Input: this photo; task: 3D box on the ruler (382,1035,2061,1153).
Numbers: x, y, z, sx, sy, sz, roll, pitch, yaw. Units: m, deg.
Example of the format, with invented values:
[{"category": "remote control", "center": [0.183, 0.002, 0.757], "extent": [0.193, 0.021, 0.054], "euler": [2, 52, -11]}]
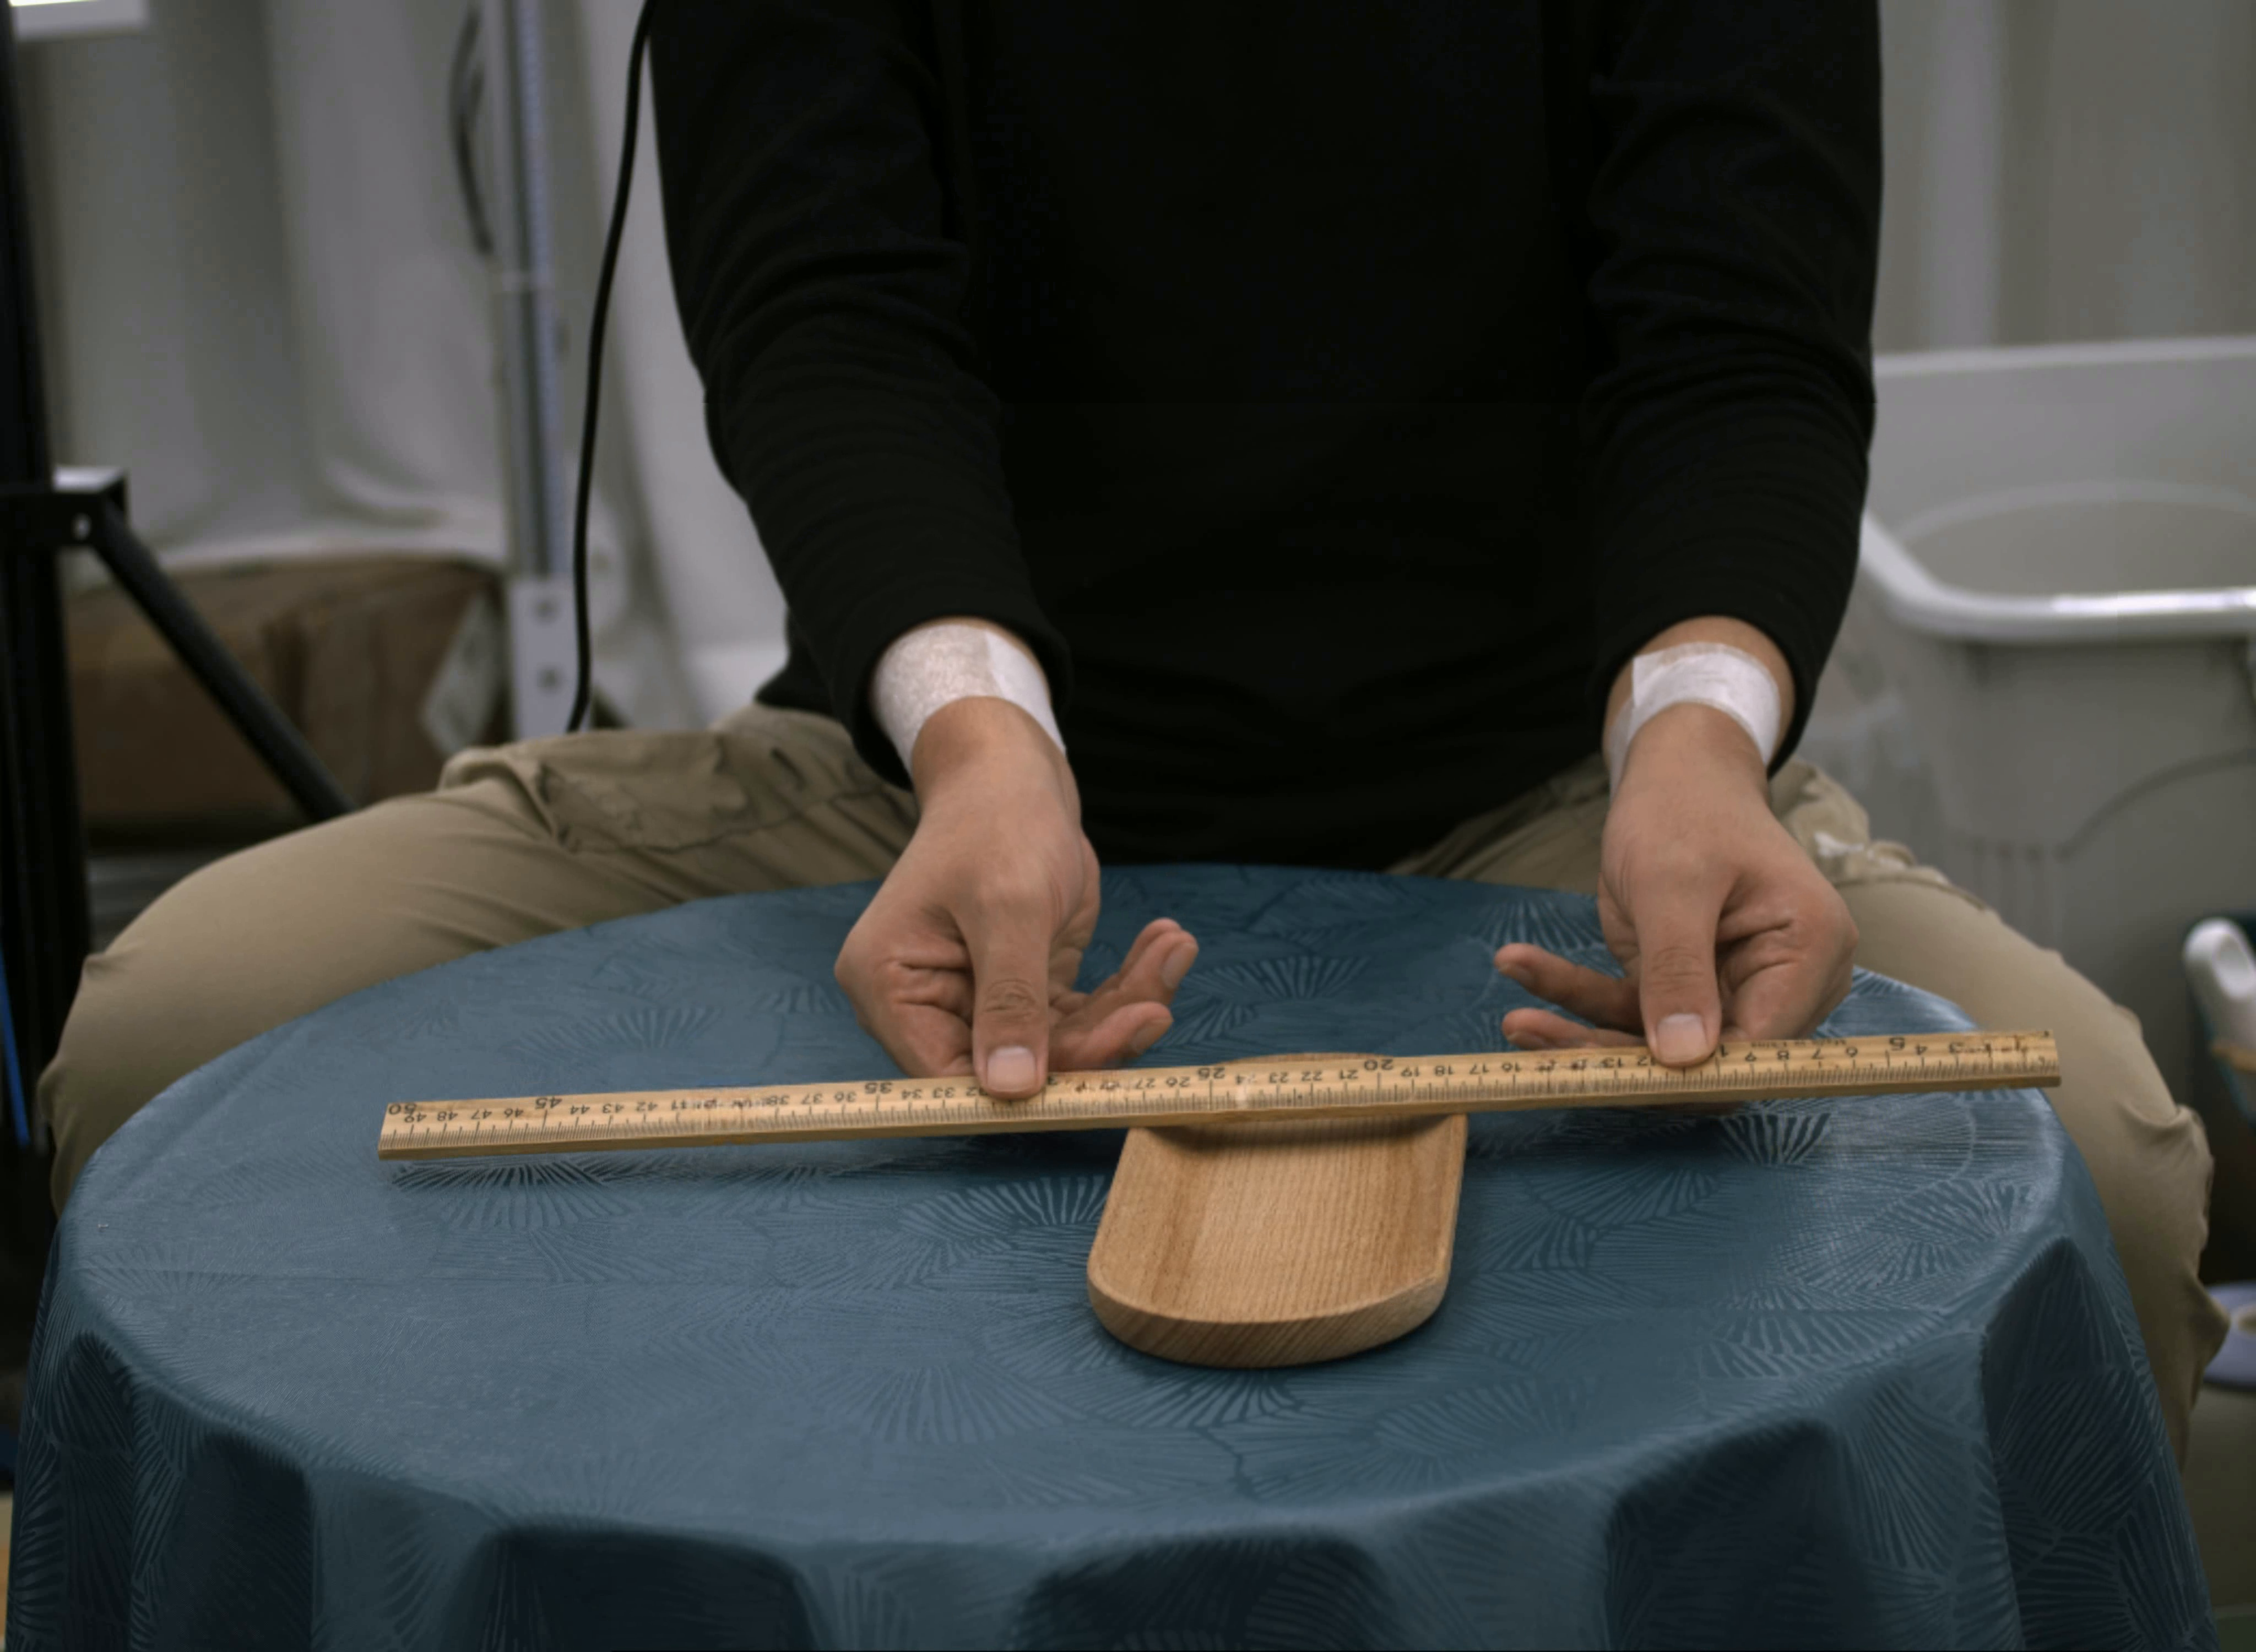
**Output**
[{"category": "ruler", "center": [0.025, 0.080, 1.577], "extent": [0.501, 0.006, 0.027], "euler": [-2, 32, 7]}]

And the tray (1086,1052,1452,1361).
[{"category": "tray", "center": [0.043, 0.107, 1.523], "extent": [0.101, 0.020, 0.231], "euler": [-1, 14, 4]}]
